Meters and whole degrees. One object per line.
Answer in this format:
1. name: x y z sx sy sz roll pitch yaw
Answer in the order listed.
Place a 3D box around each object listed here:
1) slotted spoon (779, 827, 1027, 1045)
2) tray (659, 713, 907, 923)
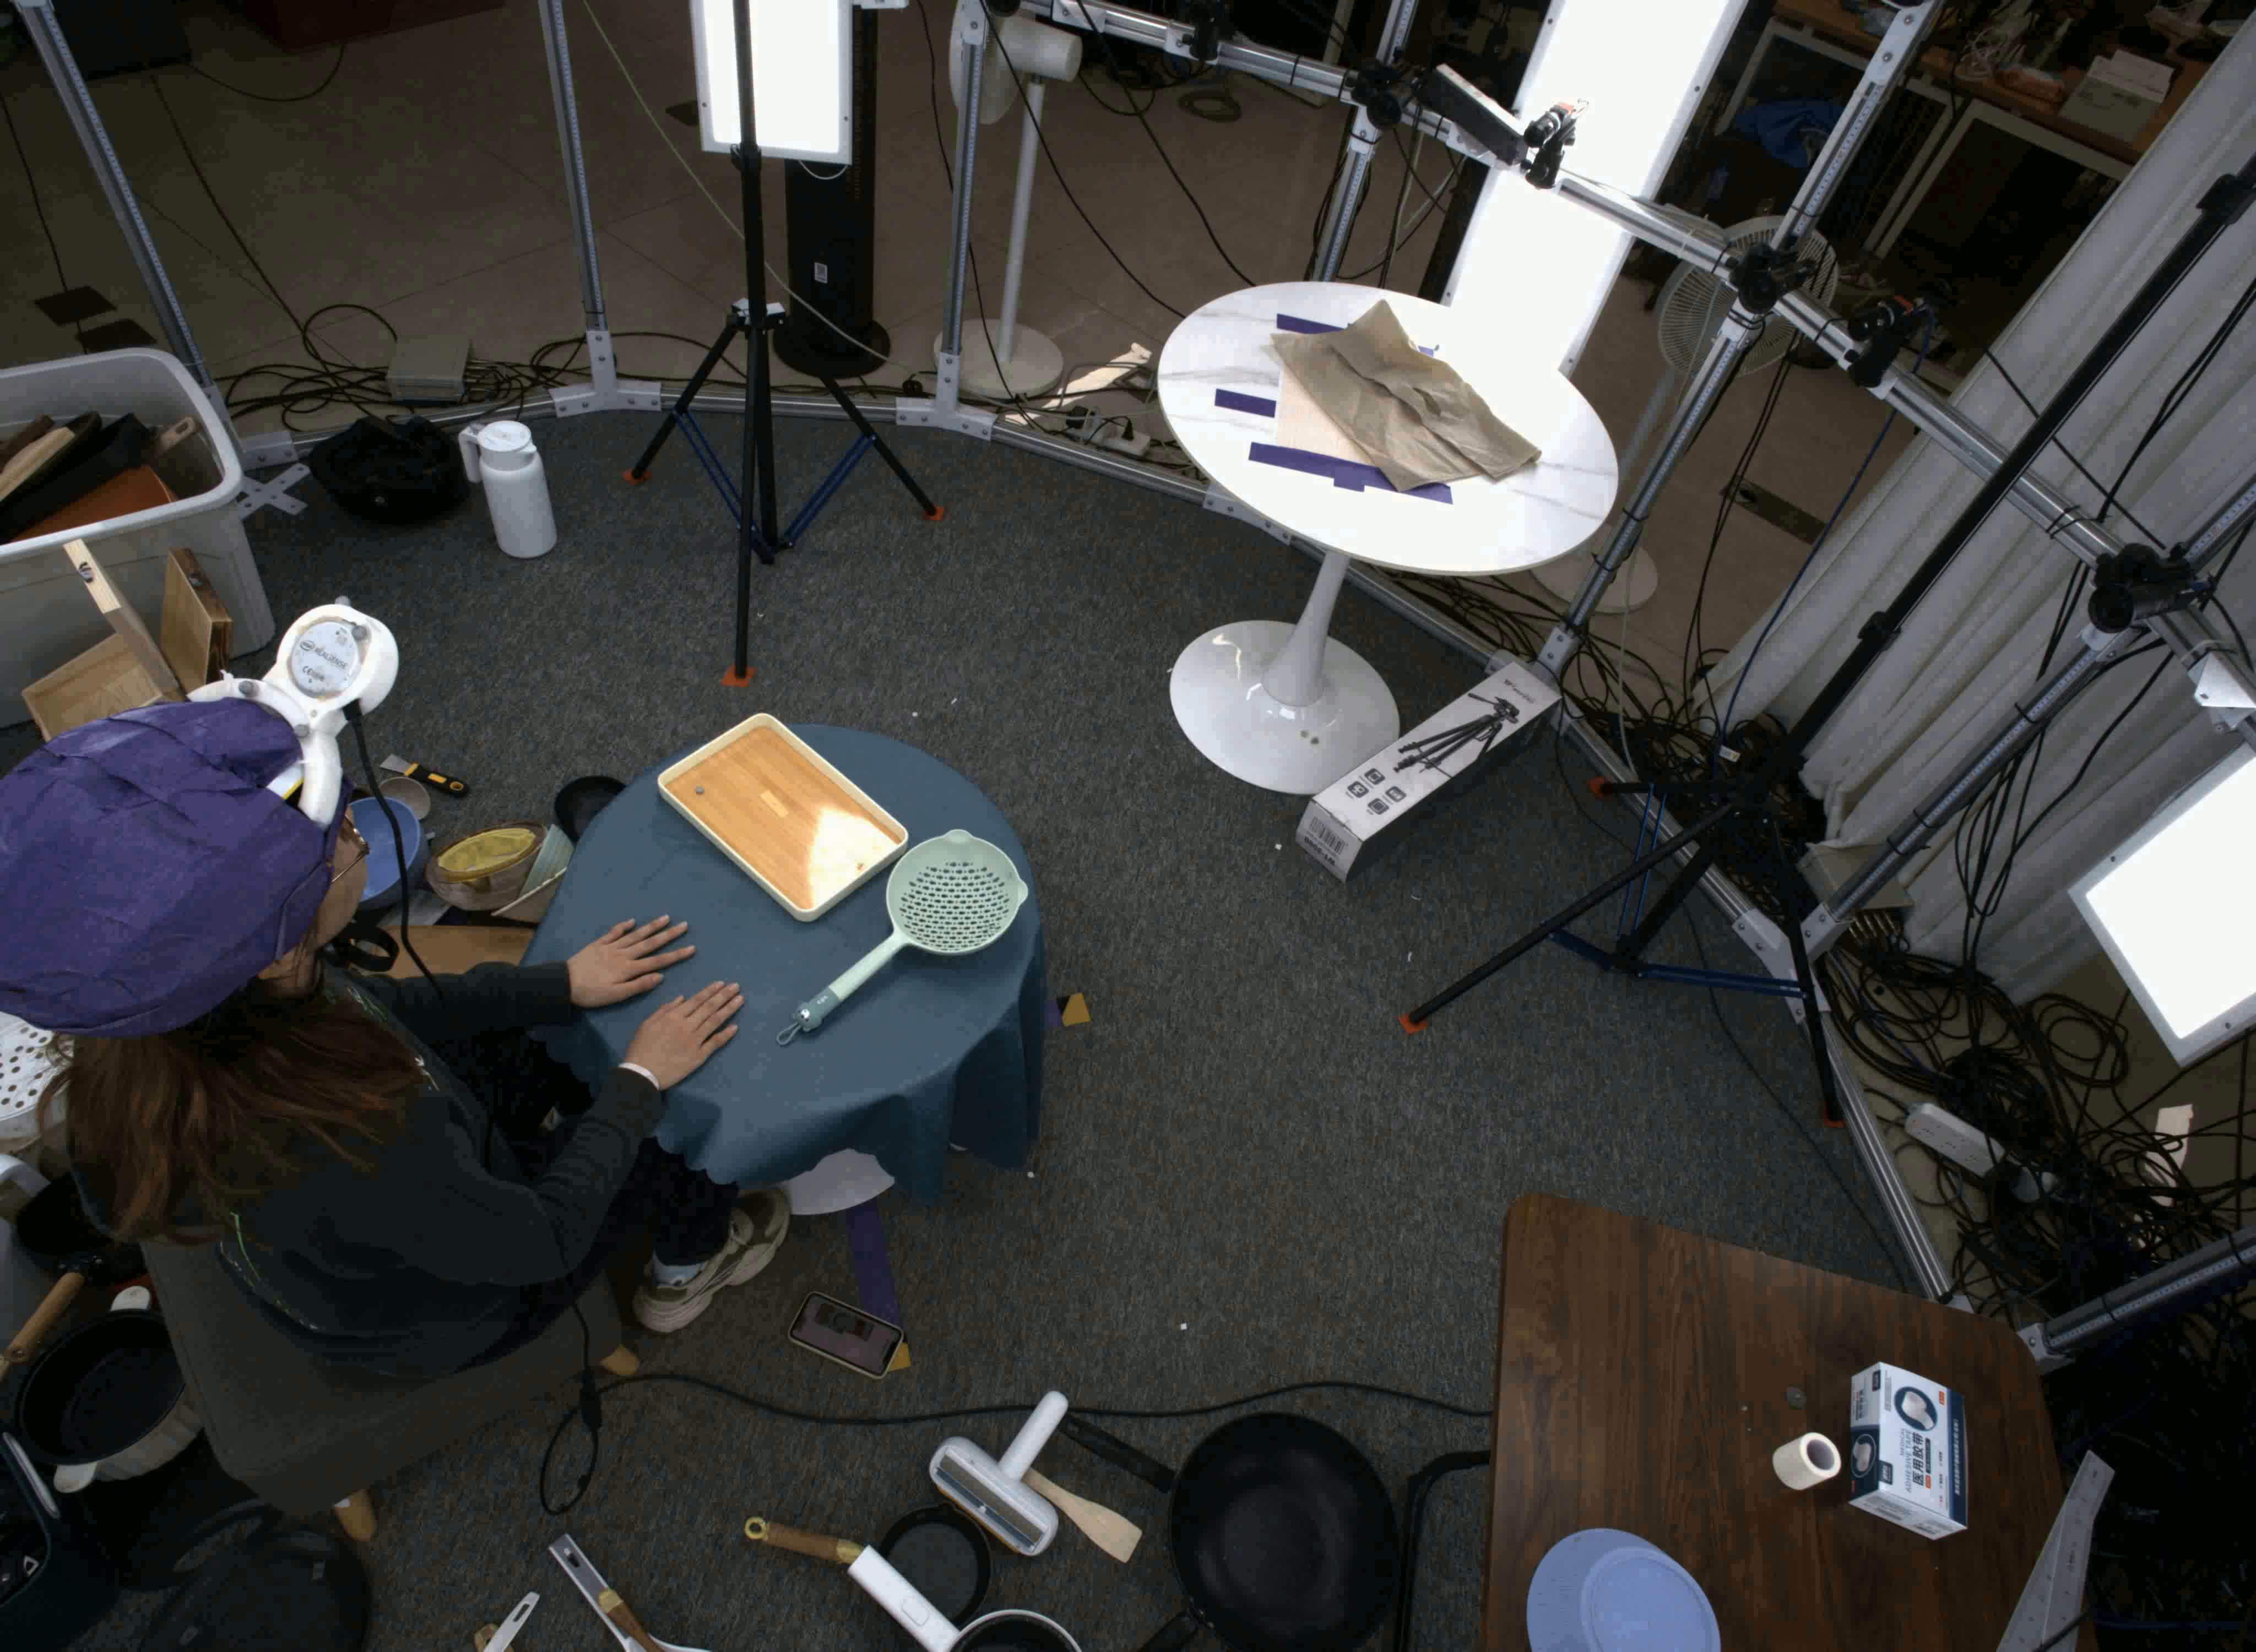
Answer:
1. slotted spoon: -0.288 0.144 1.615 0.165 0.077 0.359 41 55 18
2. tray: -0.458 -0.017 1.717 0.294 0.028 0.192 38 54 15
